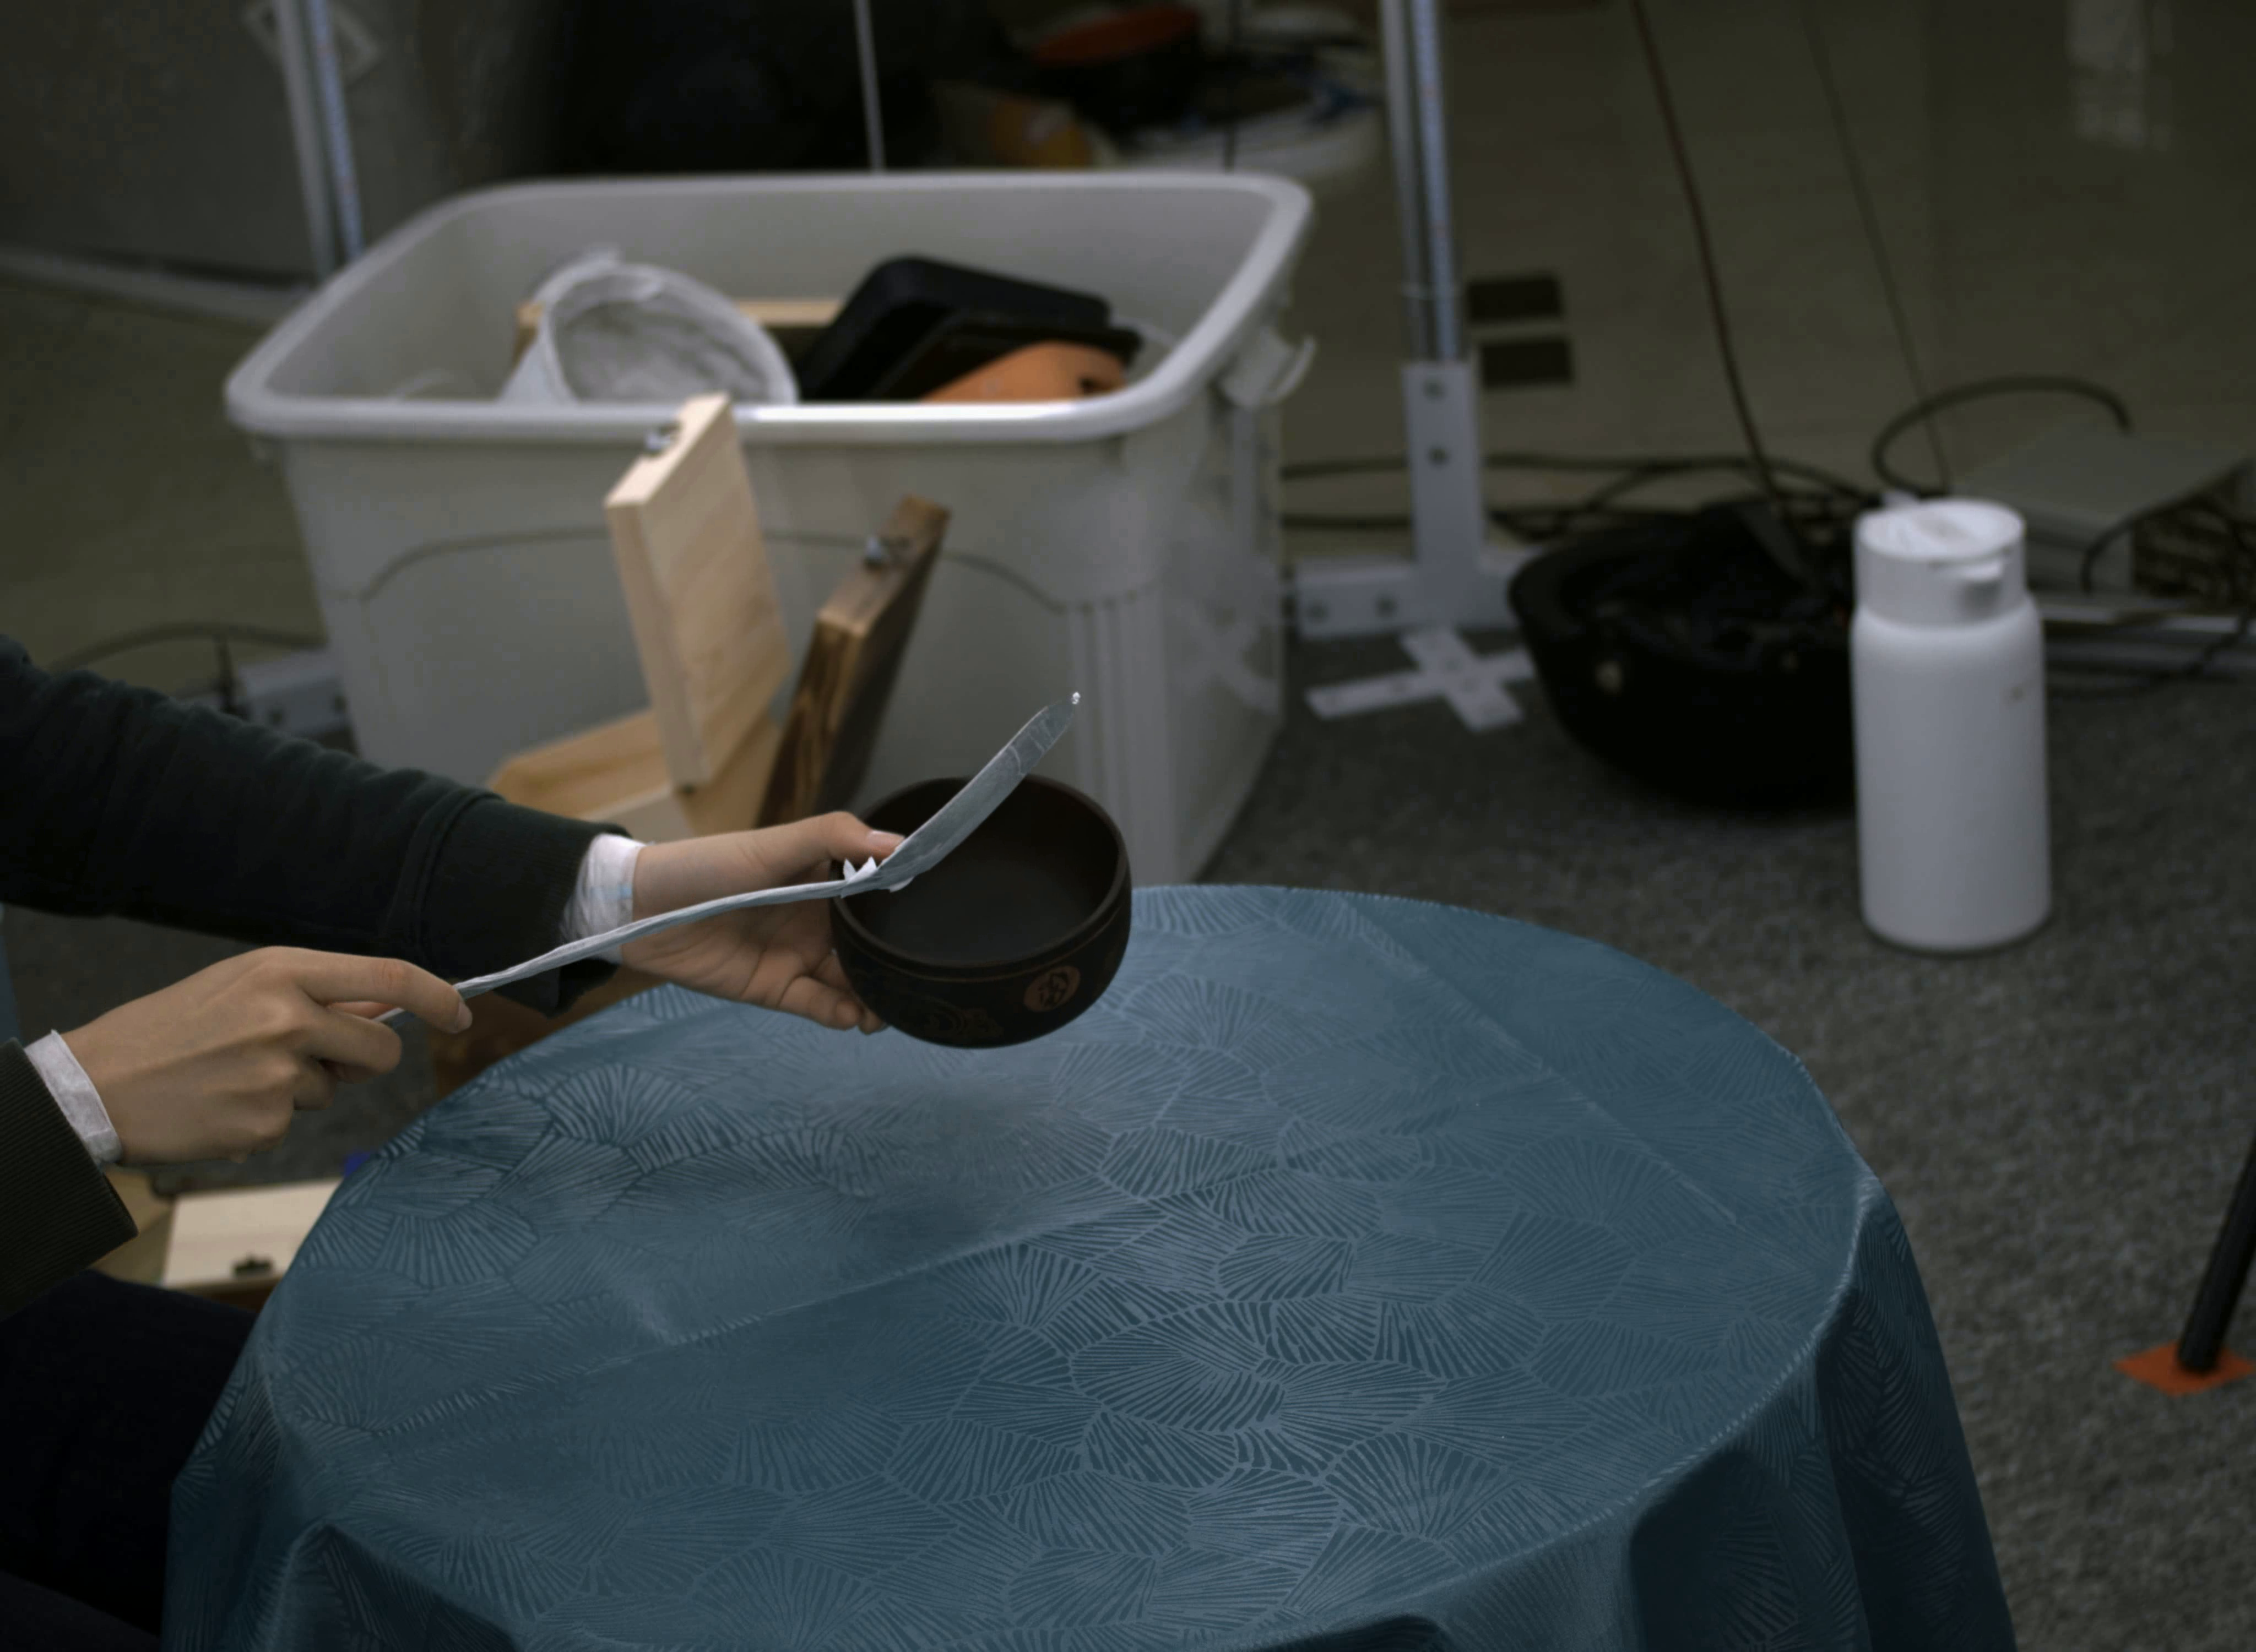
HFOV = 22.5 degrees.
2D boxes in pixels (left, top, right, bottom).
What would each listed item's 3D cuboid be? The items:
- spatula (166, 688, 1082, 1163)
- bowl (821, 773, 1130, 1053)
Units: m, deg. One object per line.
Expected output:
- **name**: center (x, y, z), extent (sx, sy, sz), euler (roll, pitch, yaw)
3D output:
- **spatula**: center (-0.179, 0.035, 2.024), extent (0.364, 0.044, 0.099), euler (-20, -5, -8)
- **bowl**: center (-0.057, 0.042, 2.167), extent (0.118, 0.071, 0.116), euler (-3, 40, 2)
